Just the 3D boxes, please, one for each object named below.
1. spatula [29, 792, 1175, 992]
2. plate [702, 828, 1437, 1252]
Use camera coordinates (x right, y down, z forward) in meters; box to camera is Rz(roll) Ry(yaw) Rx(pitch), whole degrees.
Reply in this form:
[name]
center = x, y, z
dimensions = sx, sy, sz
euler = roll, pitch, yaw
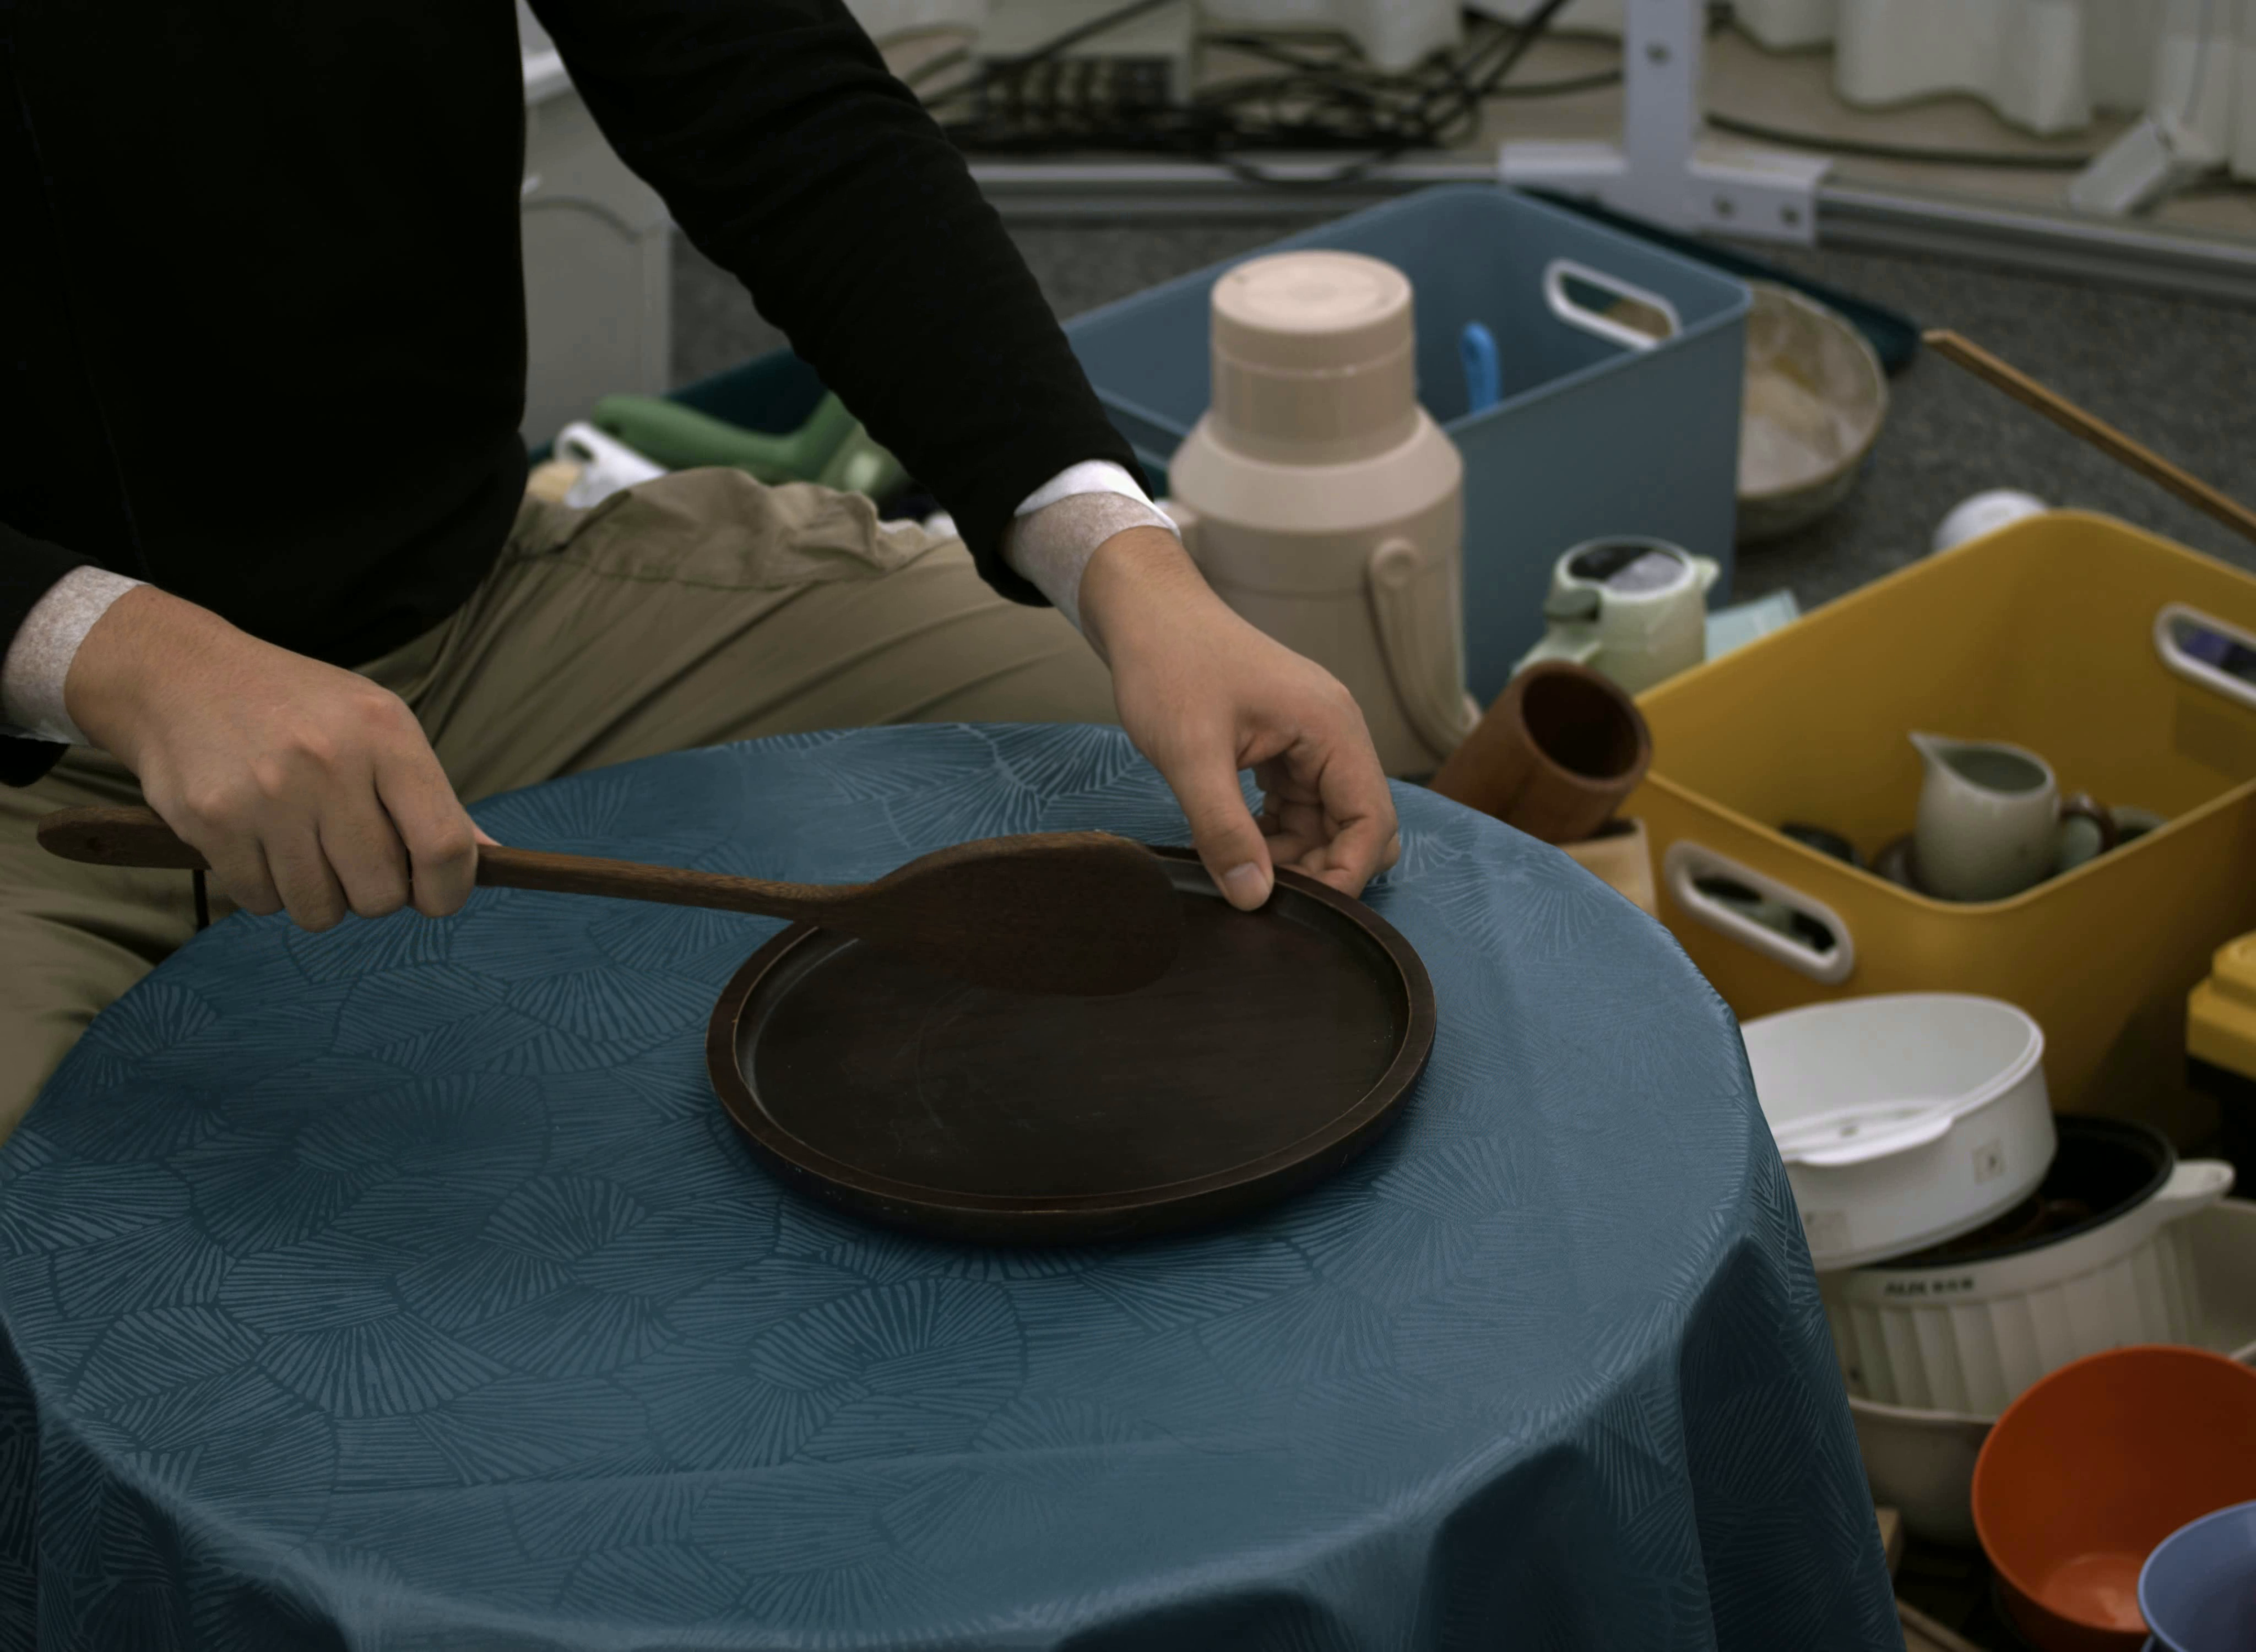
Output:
[spatula]
center = -0.175, 0.015, 1.855
dimensions = 0.384, 0.094, 0.016
euler = 5, 56, 6
[plate]
center = -0.020, 0.075, 1.928
dimensions = 0.253, 0.029, 0.259
euler = -3, 28, 2
